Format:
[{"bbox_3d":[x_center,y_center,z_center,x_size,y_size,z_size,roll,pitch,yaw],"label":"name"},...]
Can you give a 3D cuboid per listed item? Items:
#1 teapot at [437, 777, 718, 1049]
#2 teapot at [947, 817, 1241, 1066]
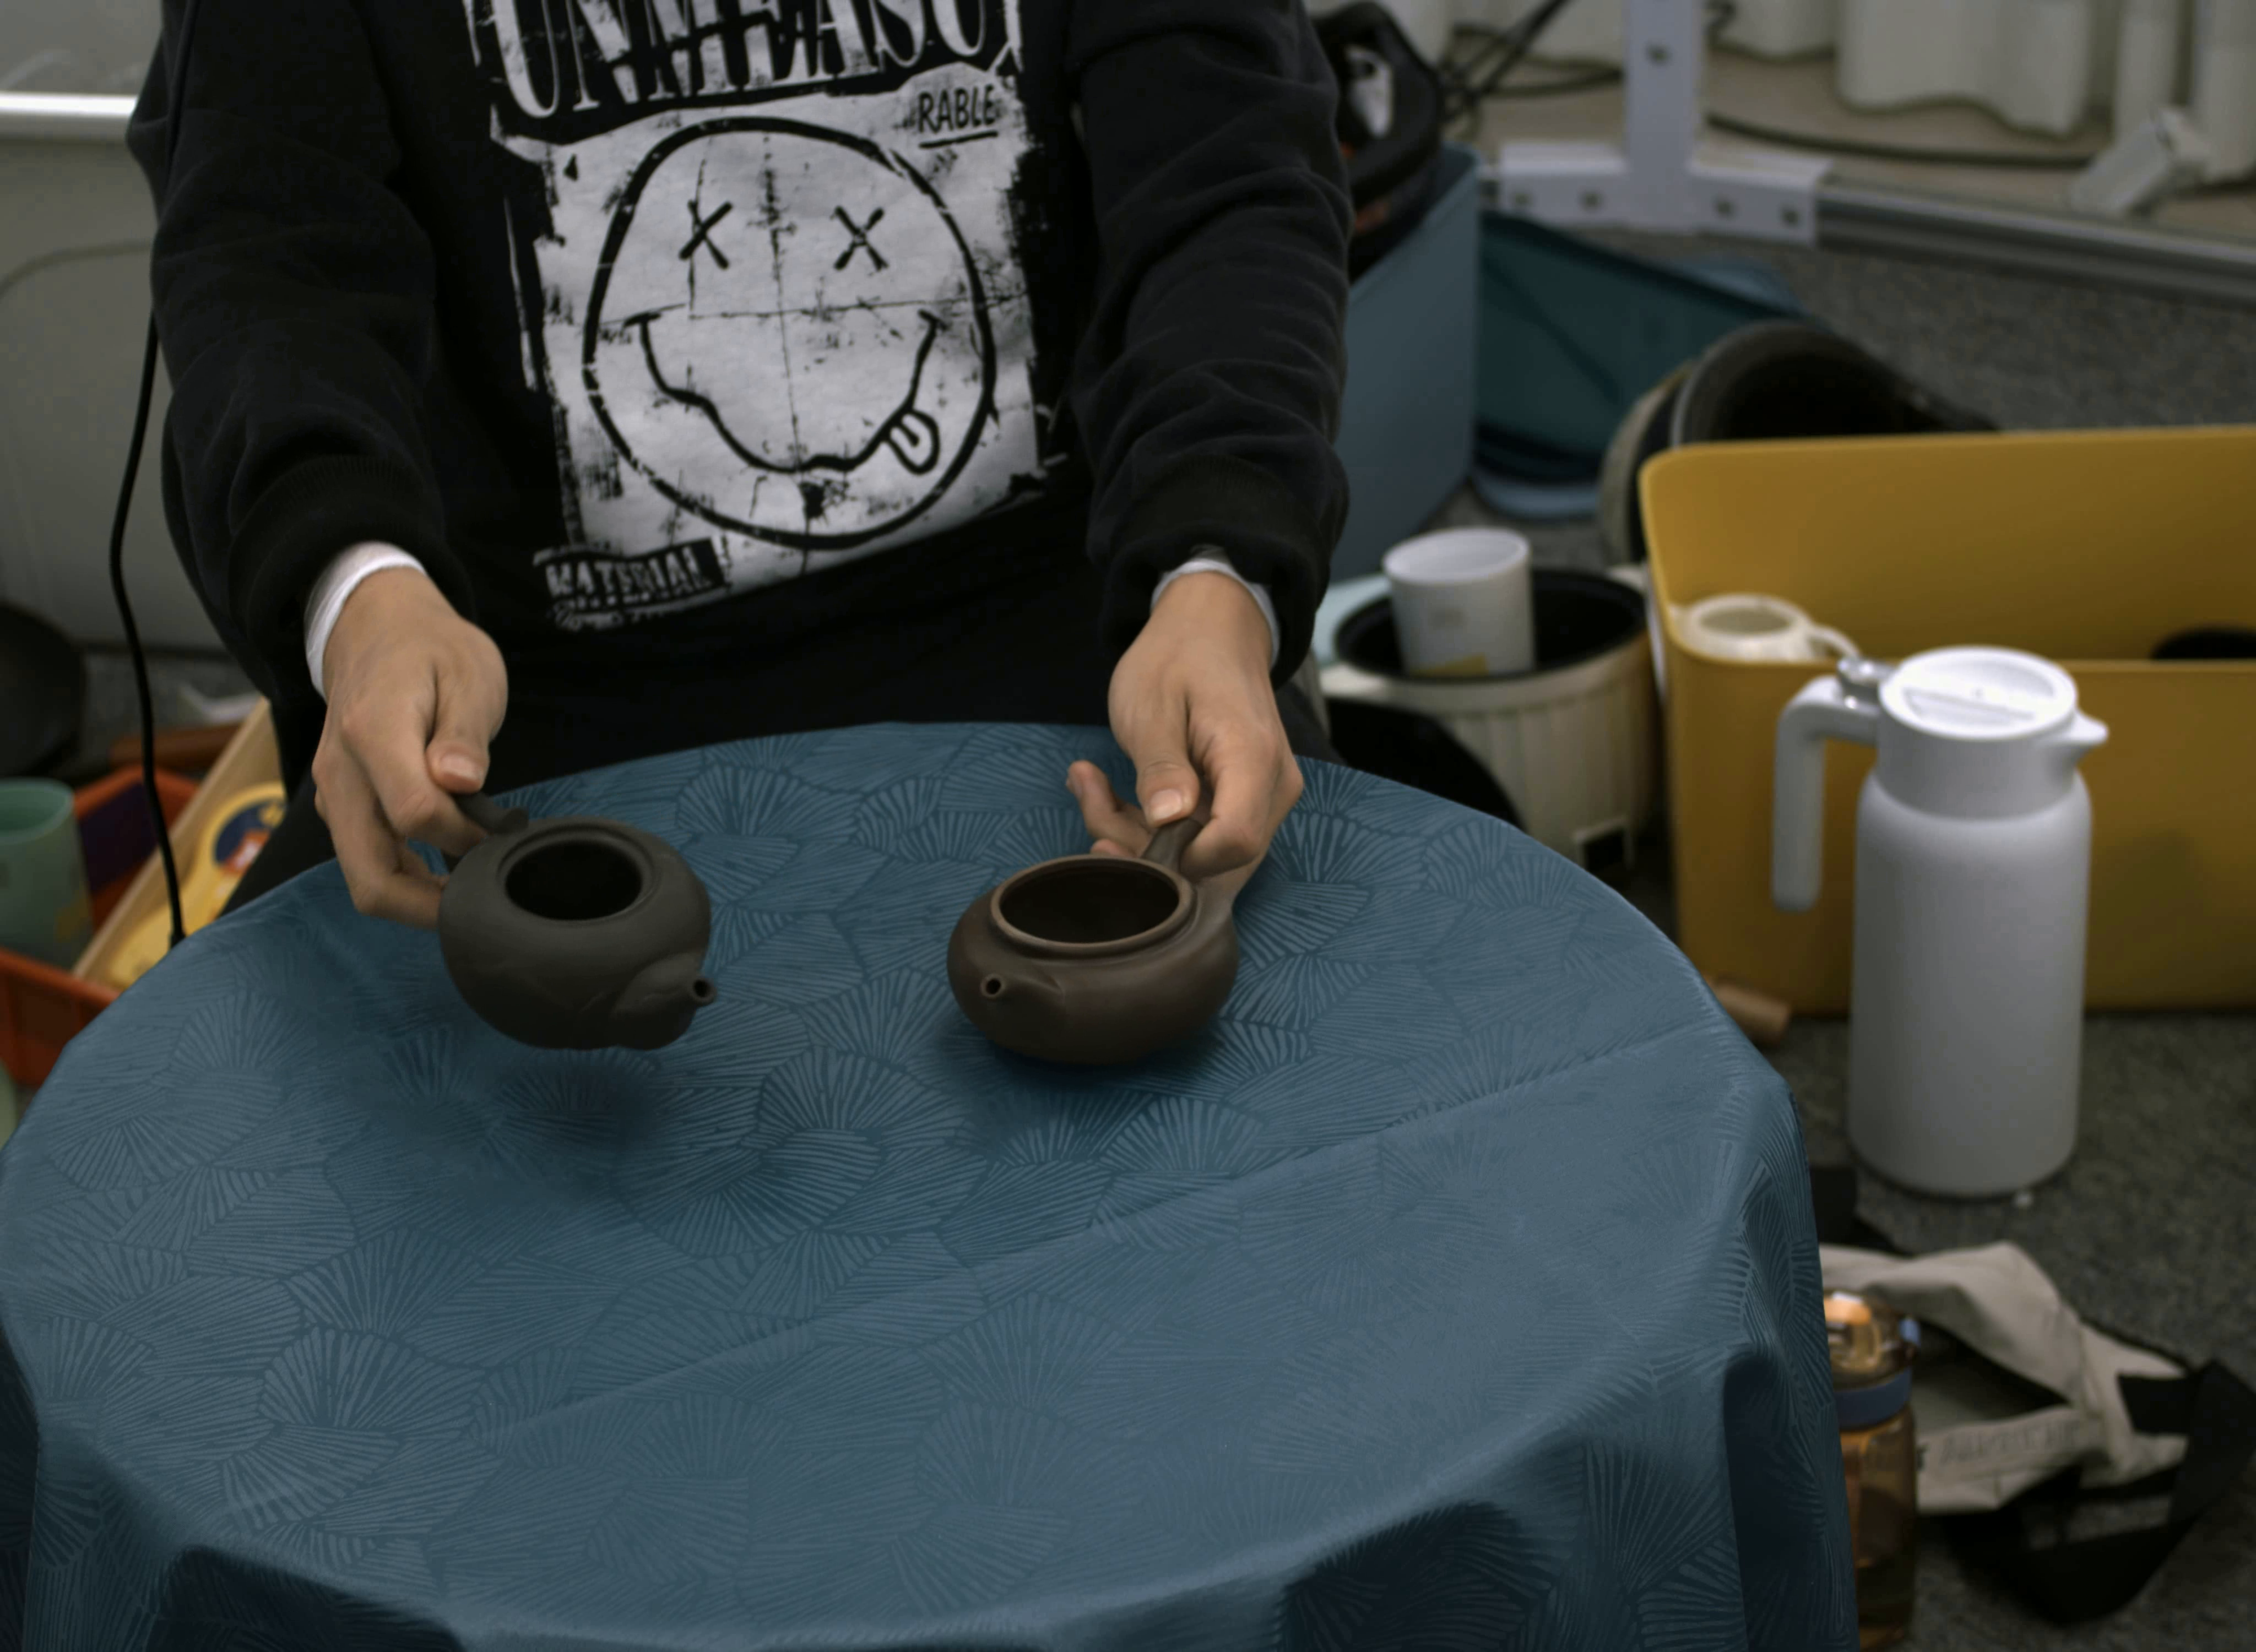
[{"bbox_3d":[-0.189,0.034,1.907,0.093,0.063,0.155,-20,43,-36],"label":"teapot"},{"bbox_3d":[-0.010,0.043,1.953,0.102,0.053,0.156,10,29,20],"label":"teapot"}]
